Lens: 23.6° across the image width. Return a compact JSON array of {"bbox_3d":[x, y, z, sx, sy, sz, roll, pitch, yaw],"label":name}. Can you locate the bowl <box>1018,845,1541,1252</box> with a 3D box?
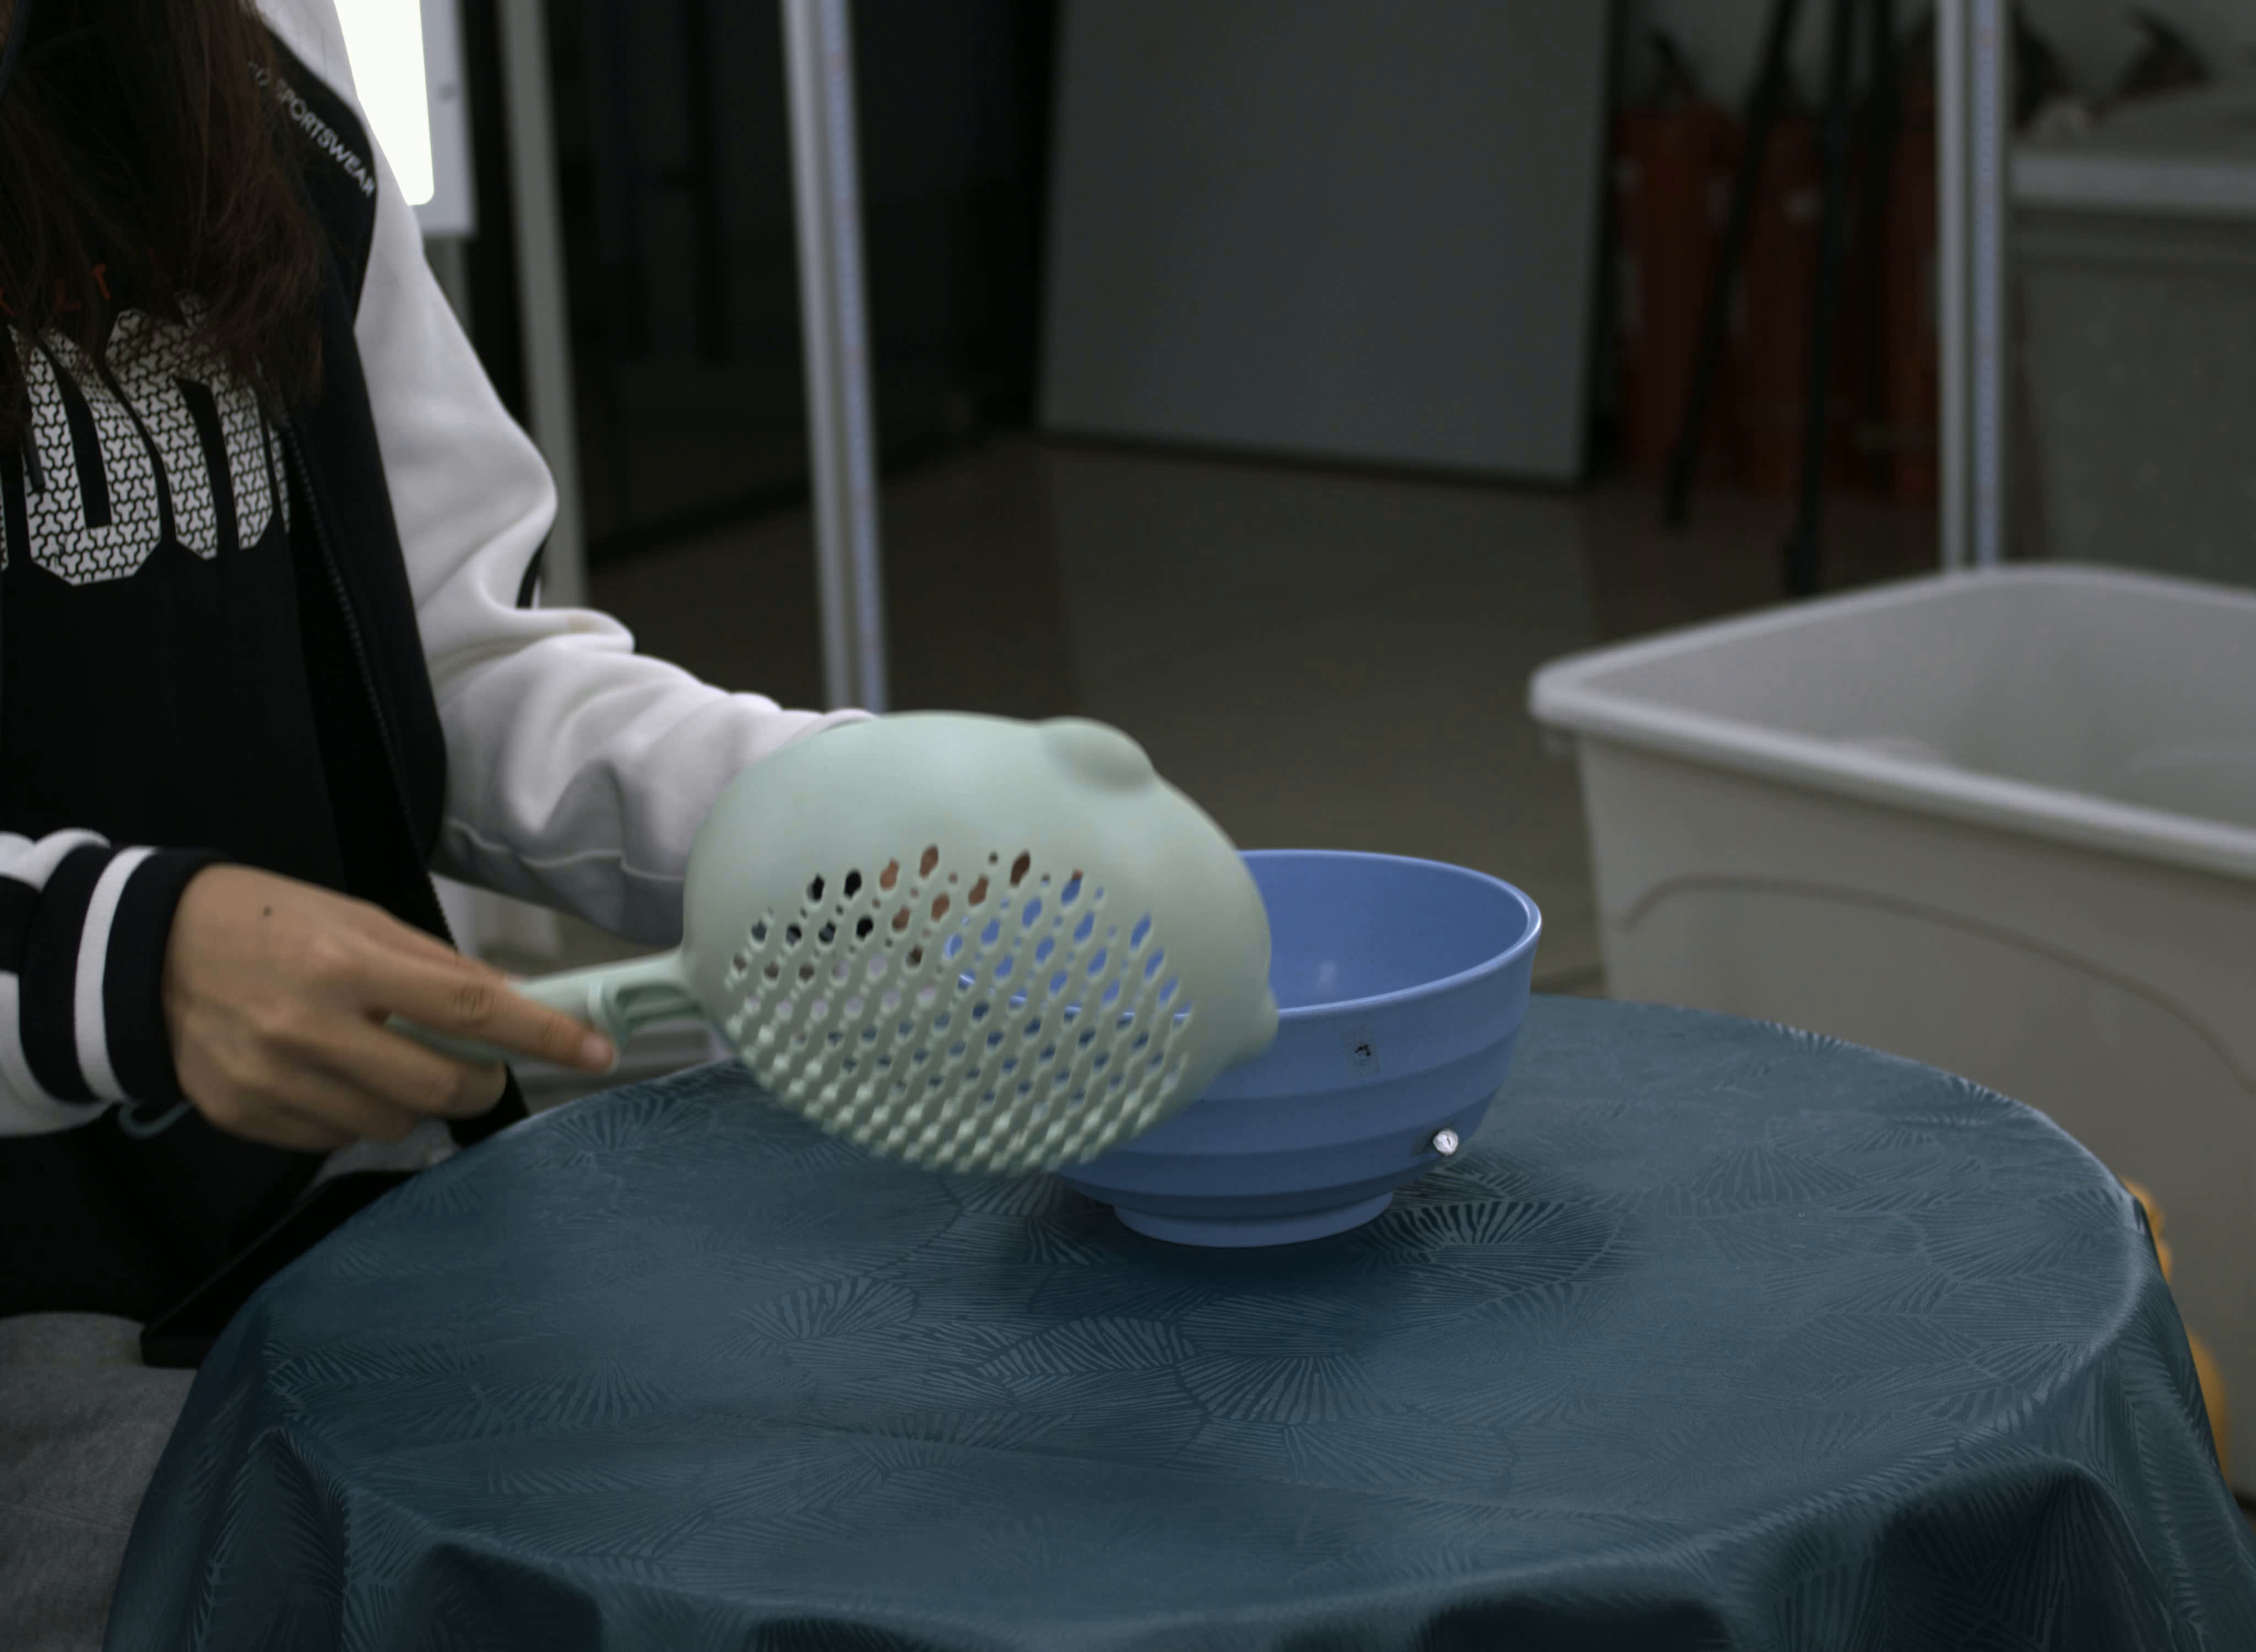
[{"bbox_3d":[0.039,0.077,1.738,0.194,0.096,0.197,-4,14,0],"label":"bowl"}]

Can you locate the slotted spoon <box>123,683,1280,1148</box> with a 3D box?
[{"bbox_3d":[-0.132,0.046,1.558,0.360,0.168,0.075,-5,44,28],"label":"slotted spoon"}]
